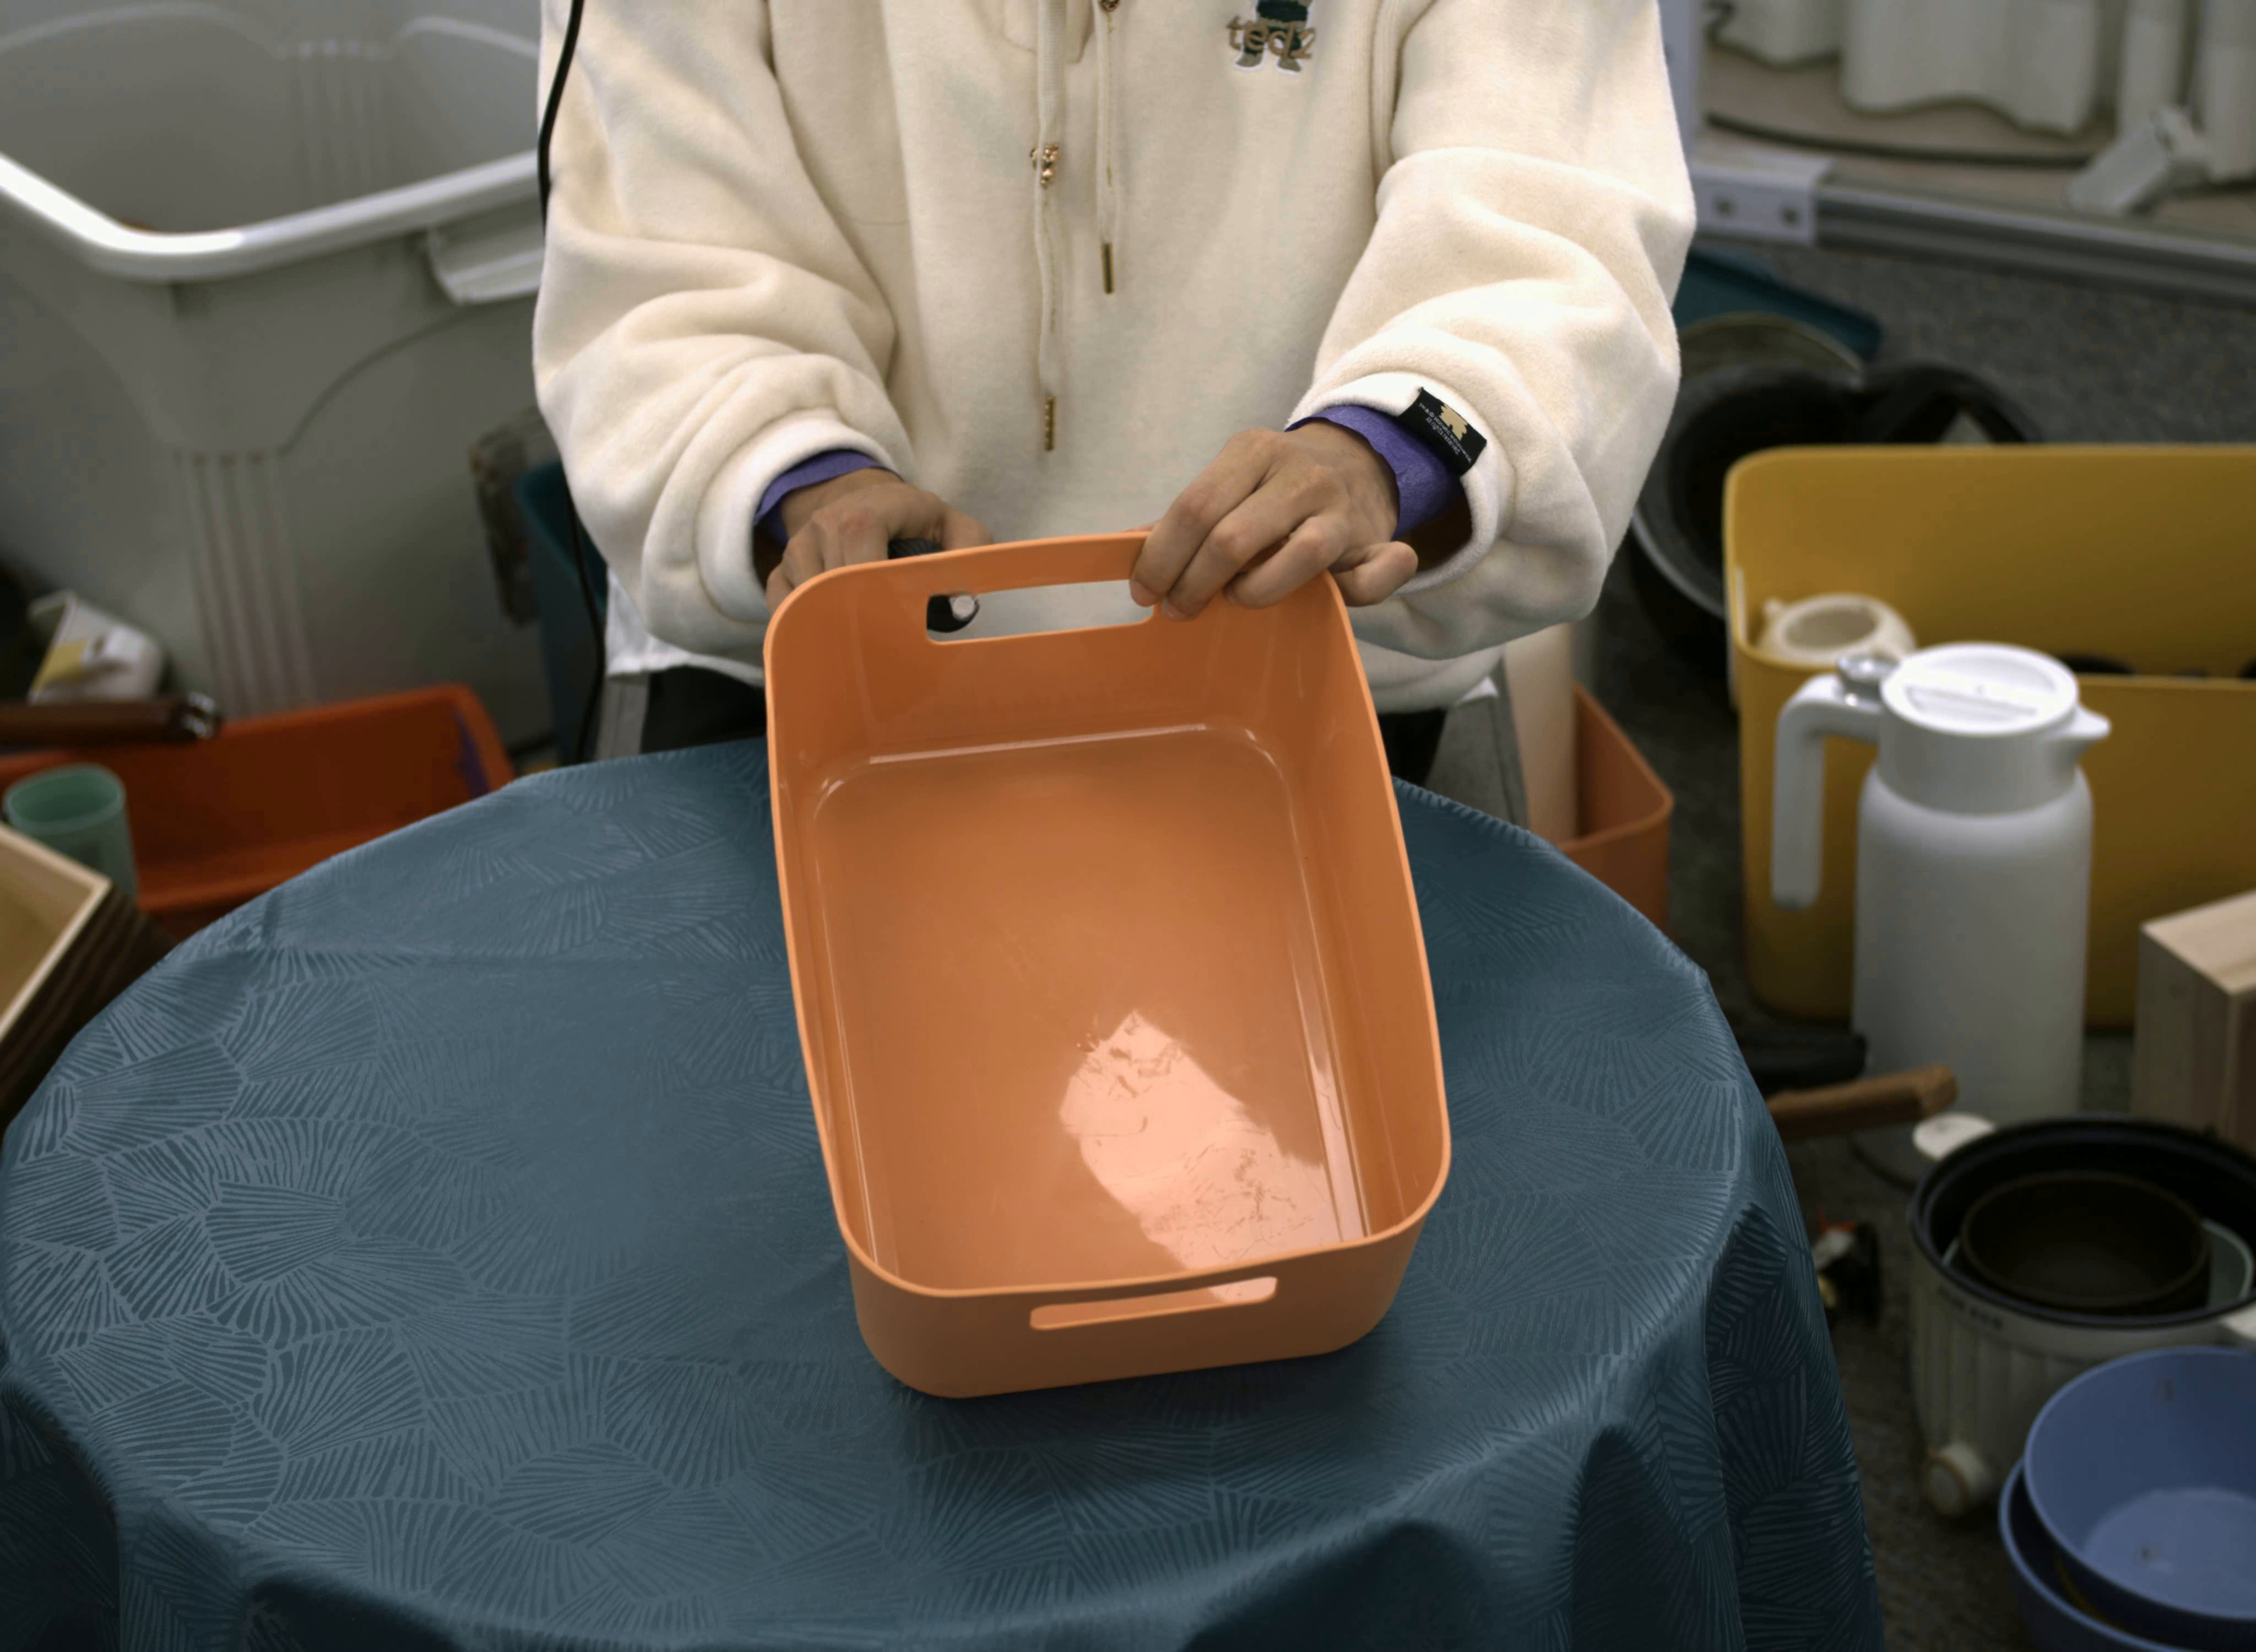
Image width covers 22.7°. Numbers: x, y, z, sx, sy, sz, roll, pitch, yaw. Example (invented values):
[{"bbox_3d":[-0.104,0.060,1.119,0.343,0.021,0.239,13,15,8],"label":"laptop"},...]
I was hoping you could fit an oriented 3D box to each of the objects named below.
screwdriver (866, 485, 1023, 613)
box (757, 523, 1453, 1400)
[{"bbox_3d":[-0.058,-0.091,1.948,0.031,0.031,0.198,-10,16,-15],"label":"screwdriver"},{"bbox_3d":[-0.010,0.046,1.788,0.199,0.101,0.278,-7,58,-6],"label":"box"}]
